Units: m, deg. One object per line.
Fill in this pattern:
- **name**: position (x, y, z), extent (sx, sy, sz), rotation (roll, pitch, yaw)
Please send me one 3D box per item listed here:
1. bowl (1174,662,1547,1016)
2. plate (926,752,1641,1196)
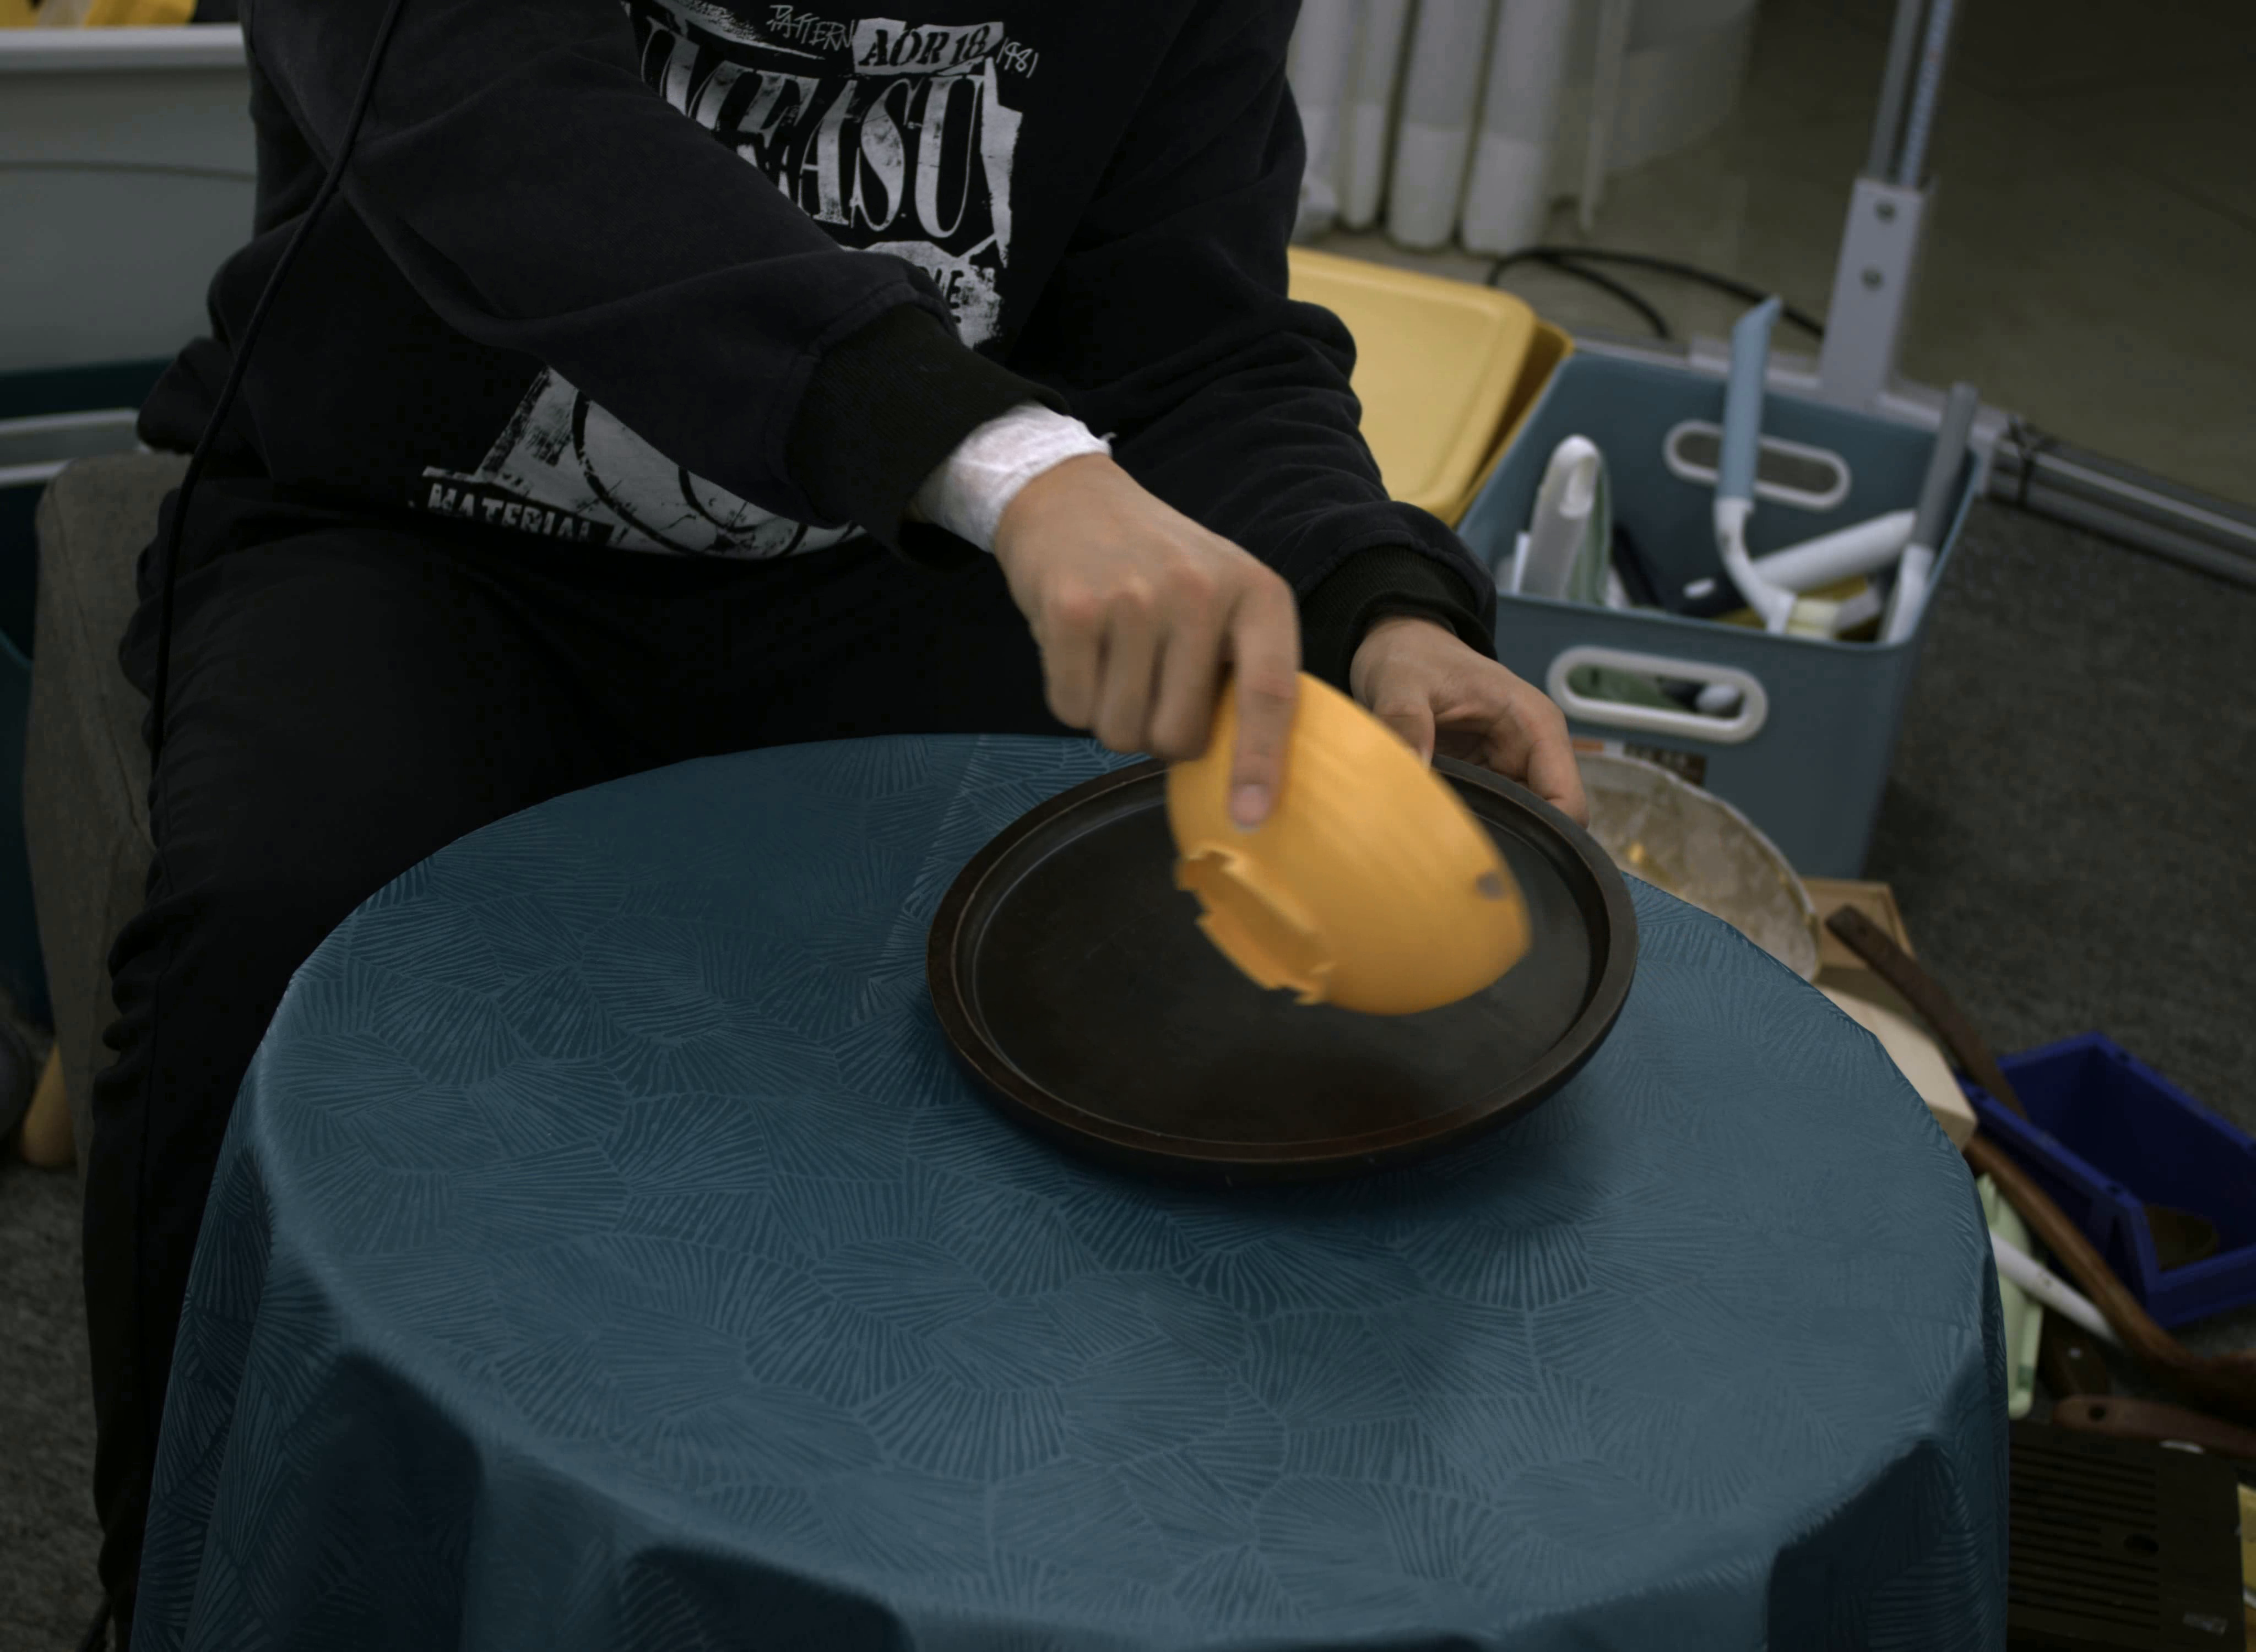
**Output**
- **bowl**: position (0.065, 0.018, 1.772), extent (0.146, 0.144, 0.060), rotation (27, 63, 34)
- **plate**: position (0.055, 0.048, 1.885), extent (0.254, 0.029, 0.256), rotation (-5, 34, 3)
